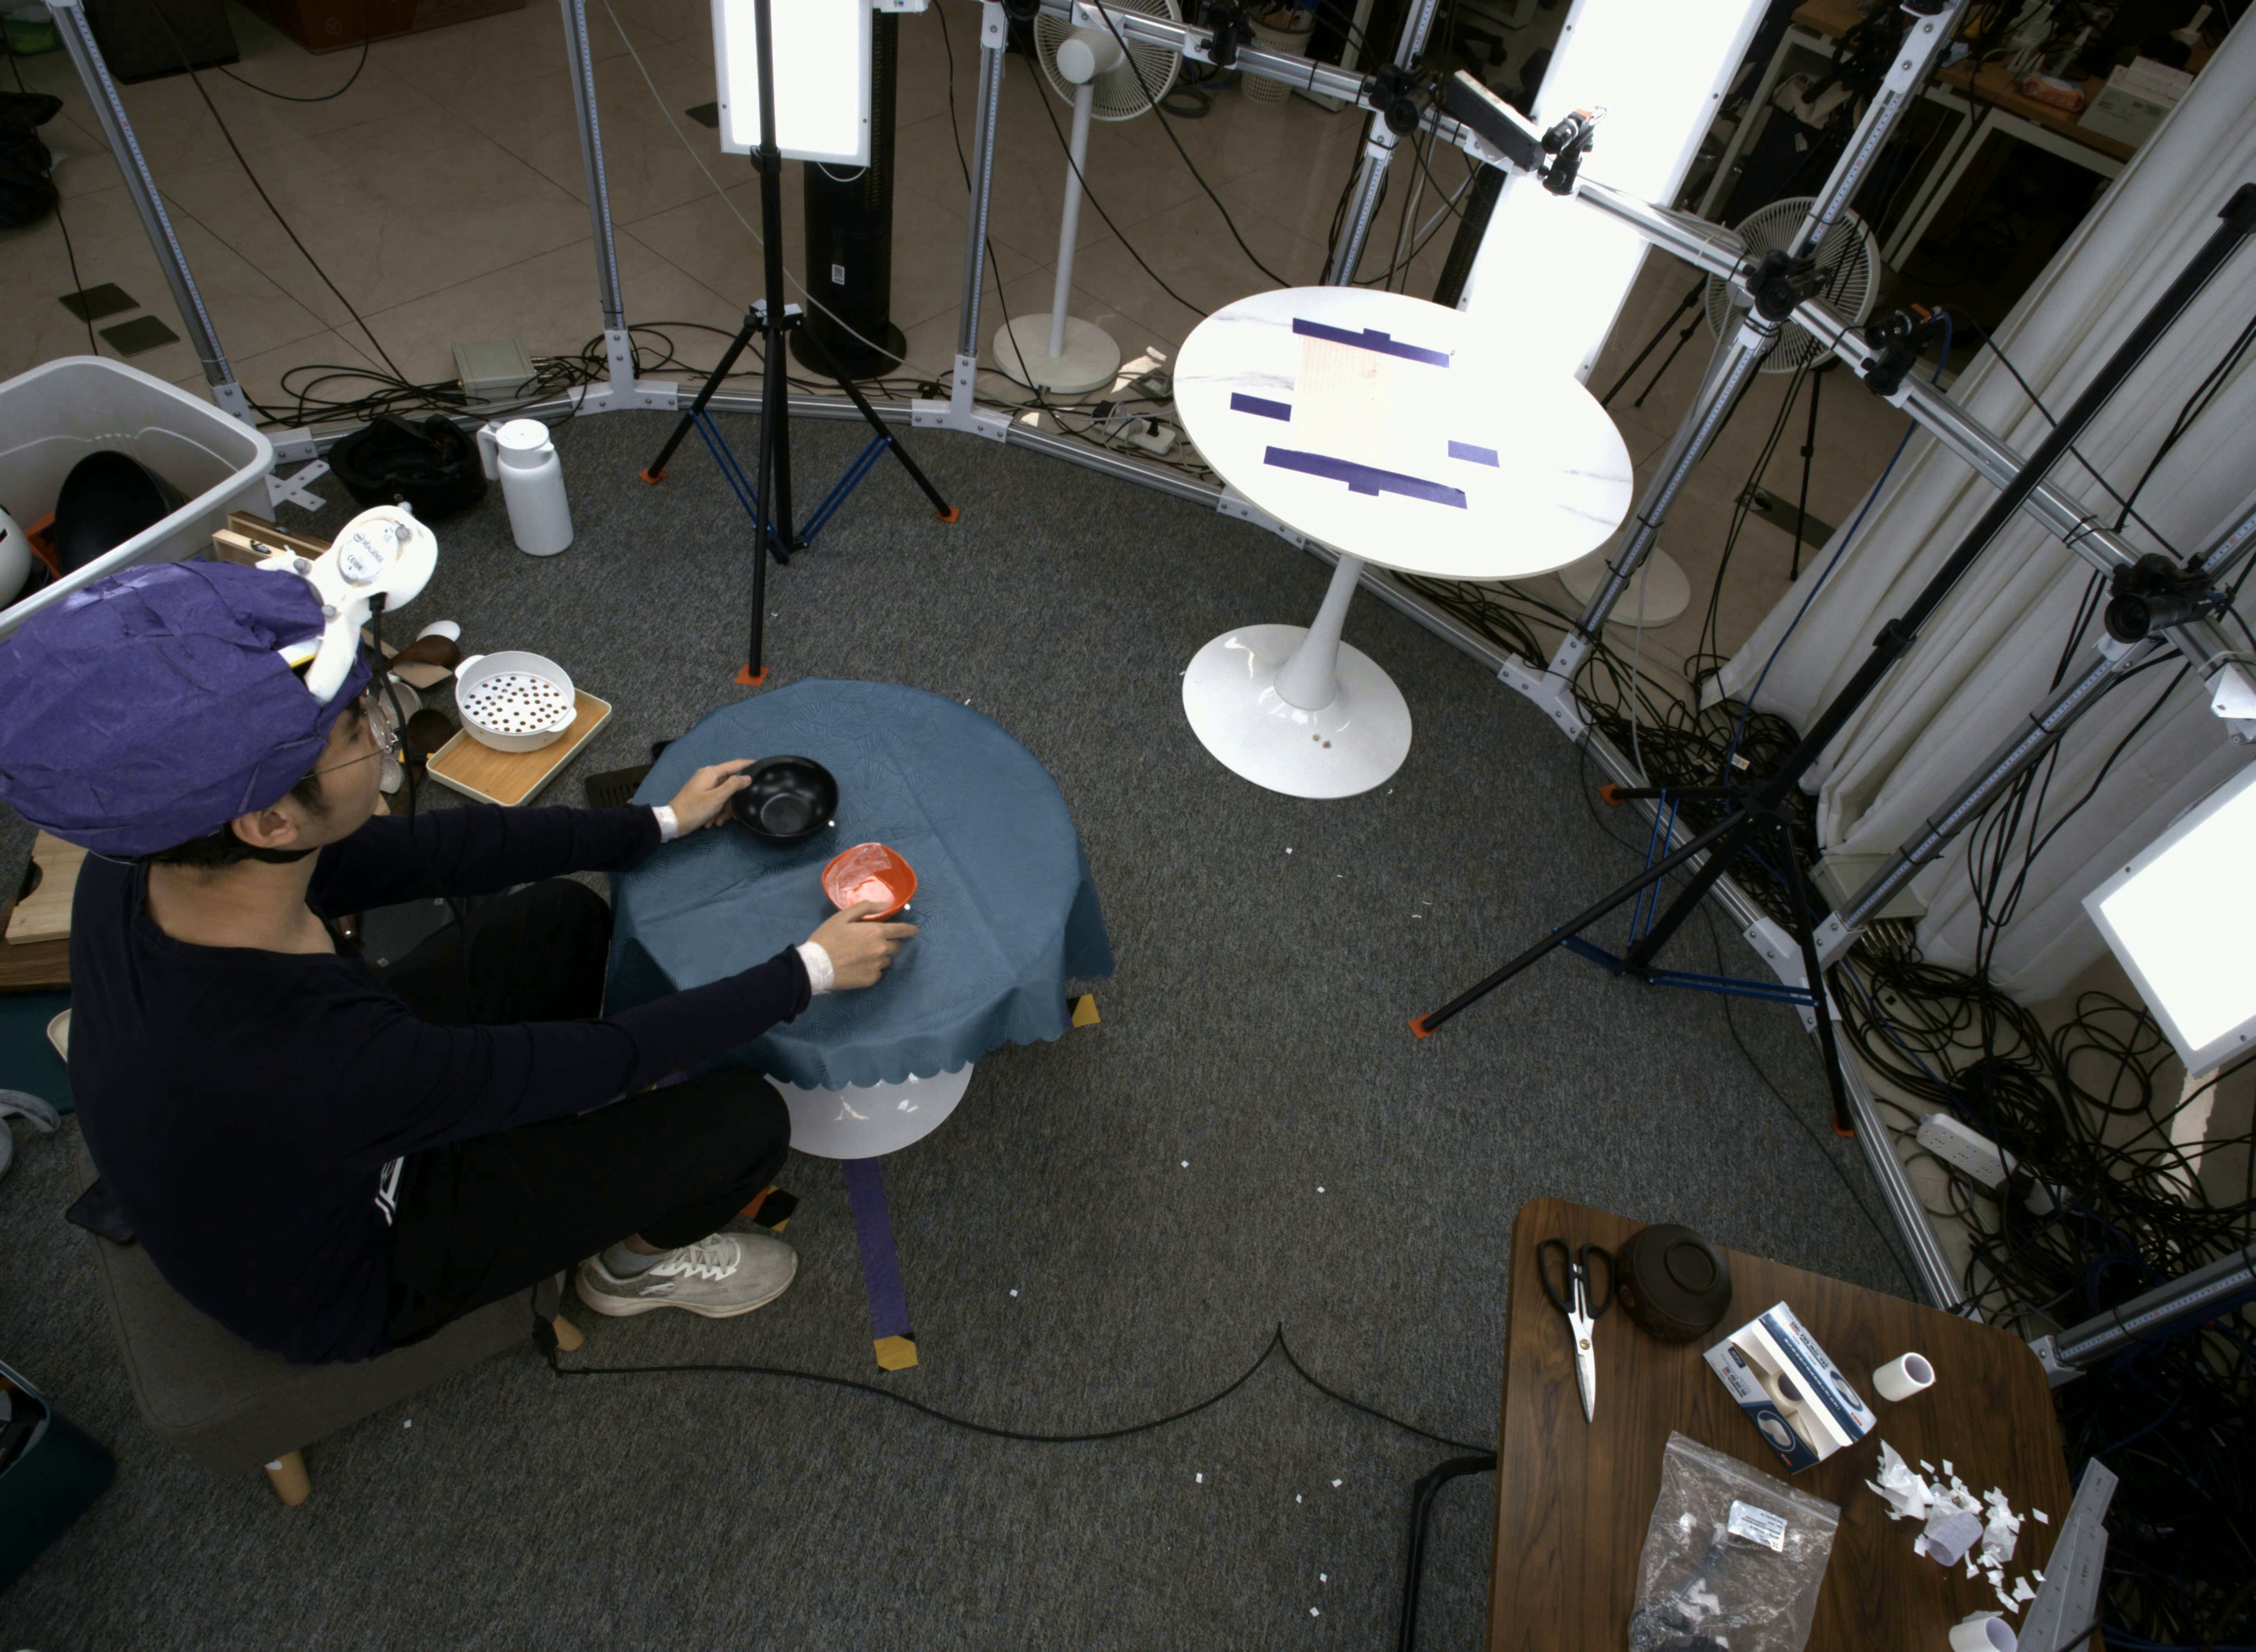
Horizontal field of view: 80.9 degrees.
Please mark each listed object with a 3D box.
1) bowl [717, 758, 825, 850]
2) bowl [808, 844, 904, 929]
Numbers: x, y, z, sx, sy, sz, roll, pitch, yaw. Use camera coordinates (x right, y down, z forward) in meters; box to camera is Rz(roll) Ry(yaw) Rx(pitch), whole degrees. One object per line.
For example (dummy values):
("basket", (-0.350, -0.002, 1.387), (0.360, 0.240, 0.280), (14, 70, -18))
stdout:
("bowl", (-0.470, -0.022, 1.711), (0.139, 0.051, 0.138), (5, 56, -6))
("bowl", (-0.347, 0.084, 1.659), (0.119, 0.052, 0.117), (9, 52, -10))
